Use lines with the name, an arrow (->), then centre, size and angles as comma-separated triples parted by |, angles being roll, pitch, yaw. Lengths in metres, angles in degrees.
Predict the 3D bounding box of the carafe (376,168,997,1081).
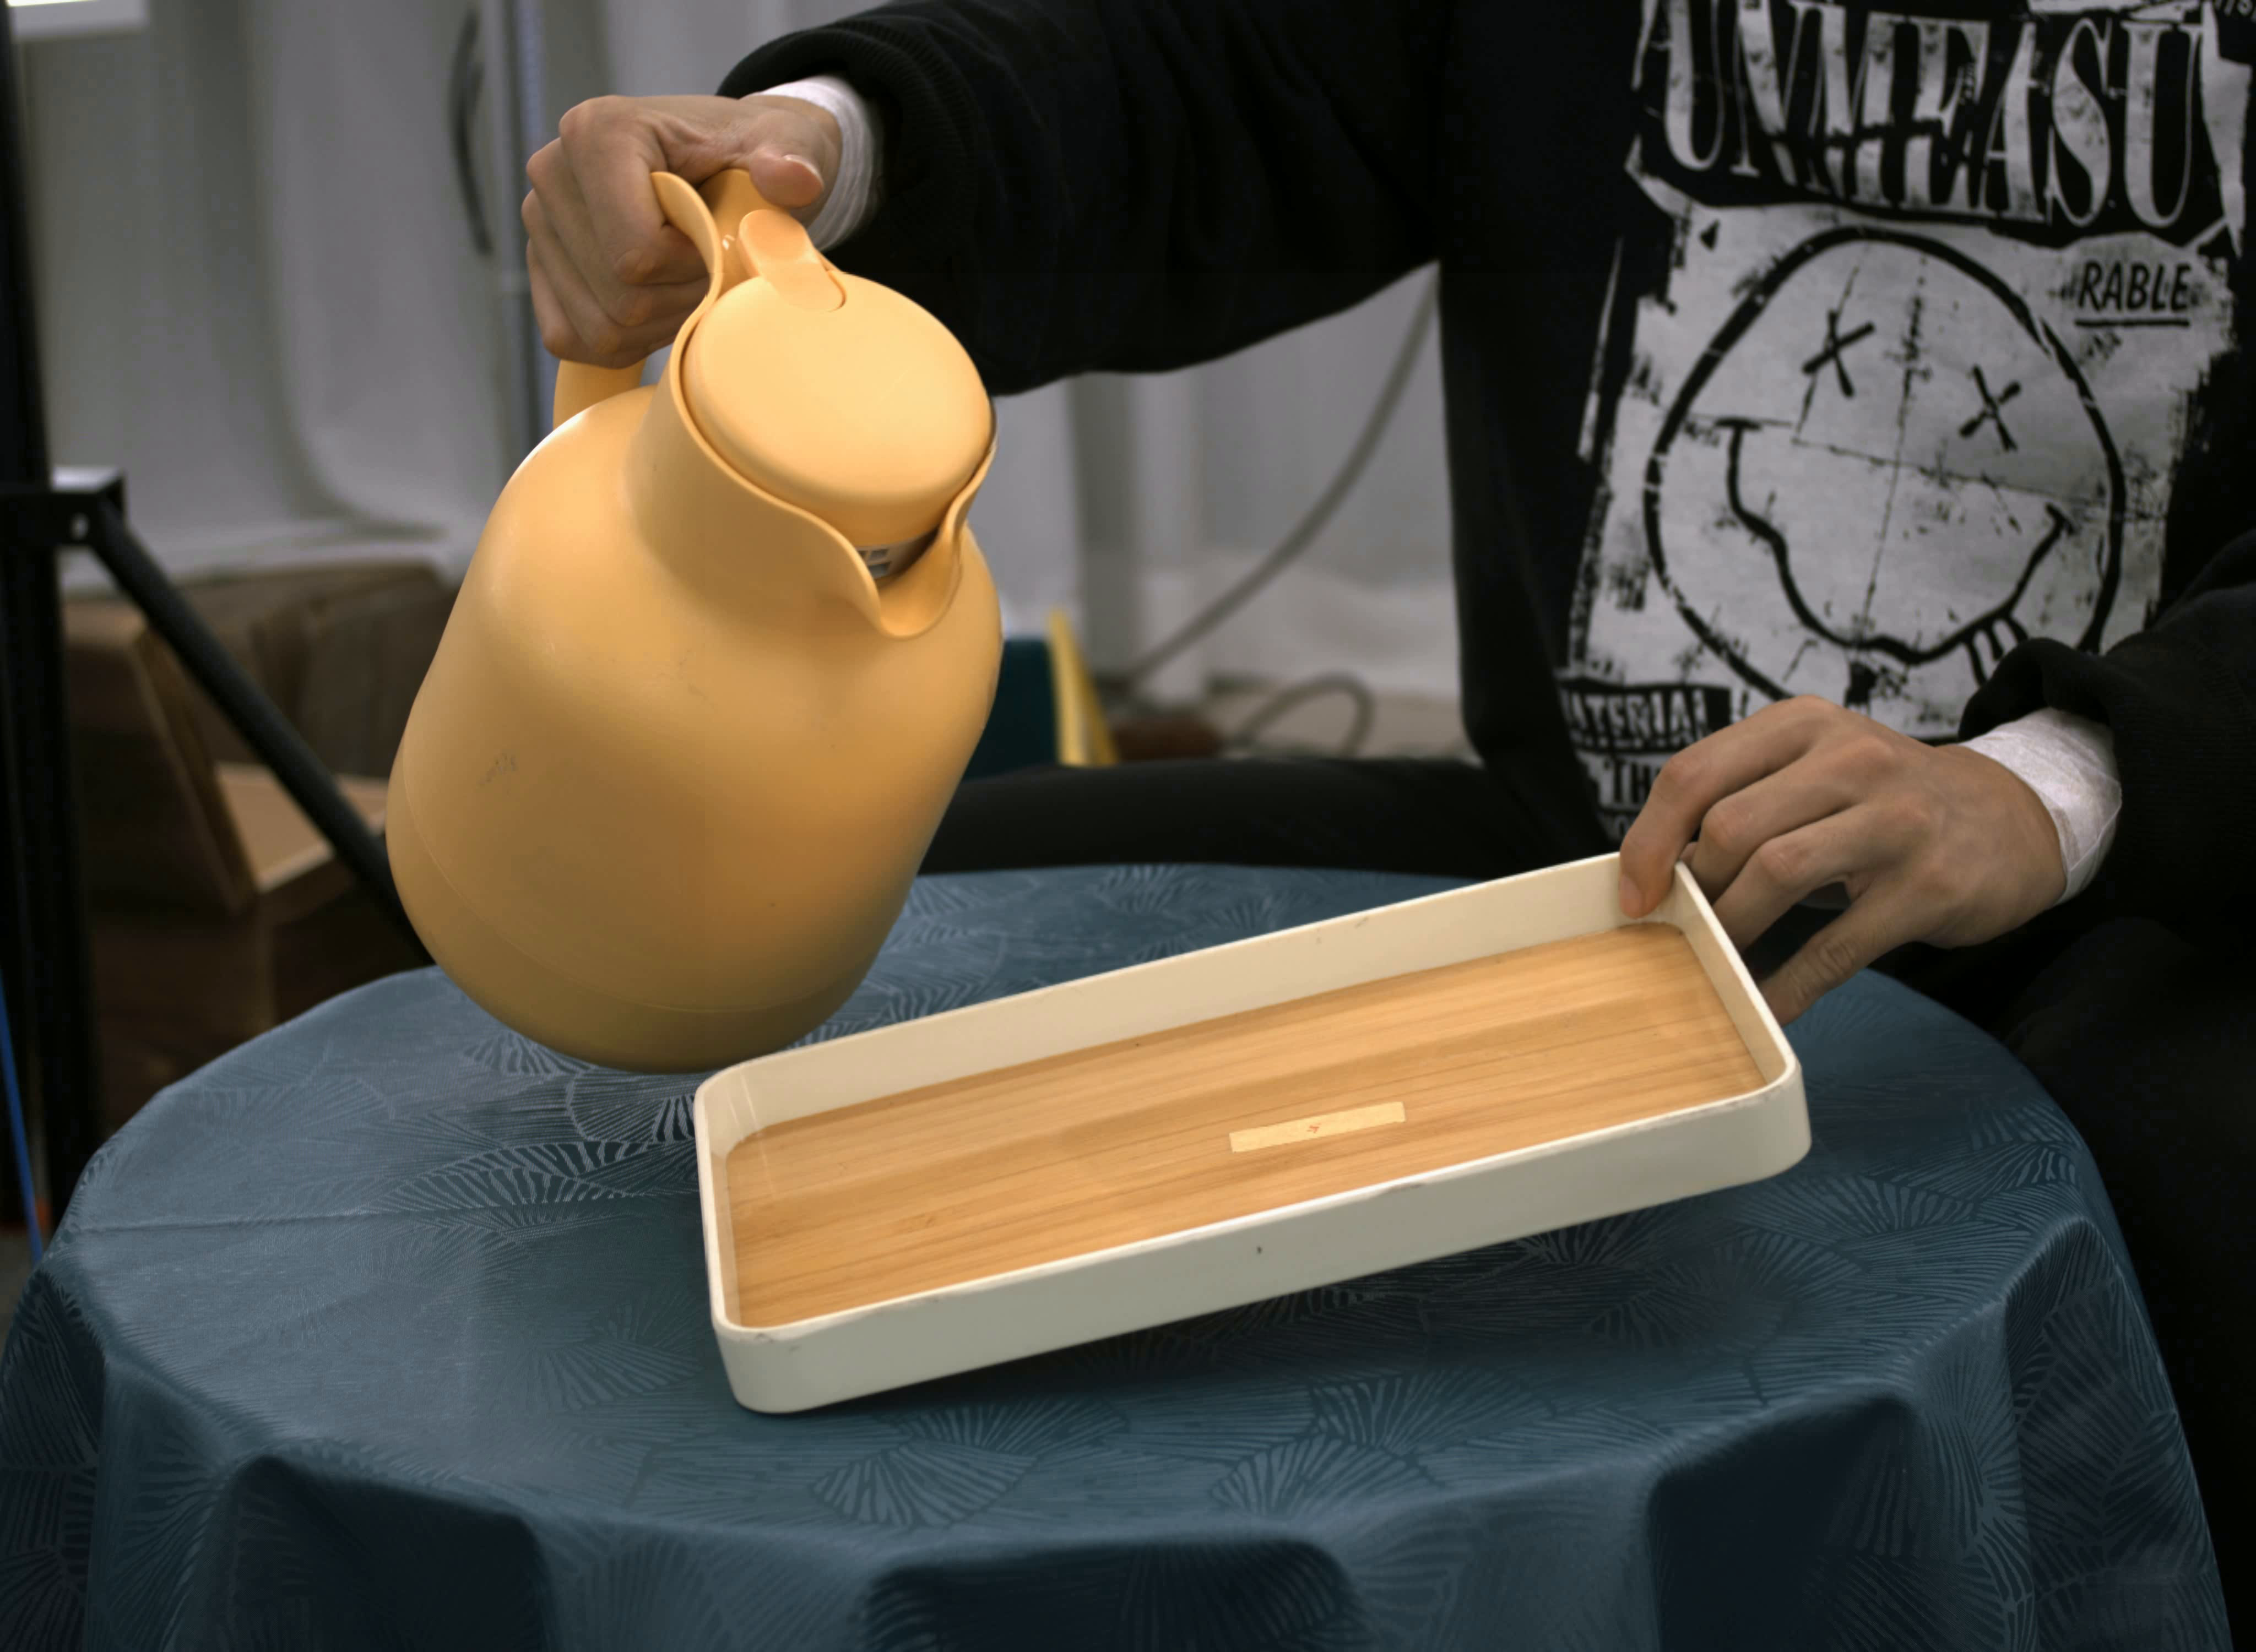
carafe -> -0.127, -0.066, 1.608 | 0.159, 0.262, 0.206 | -3, 53, -28

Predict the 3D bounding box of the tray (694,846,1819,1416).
tray -> 0.029, 0.082, 1.479 | 0.299, 0.027, 0.193 | -13, 21, 0
